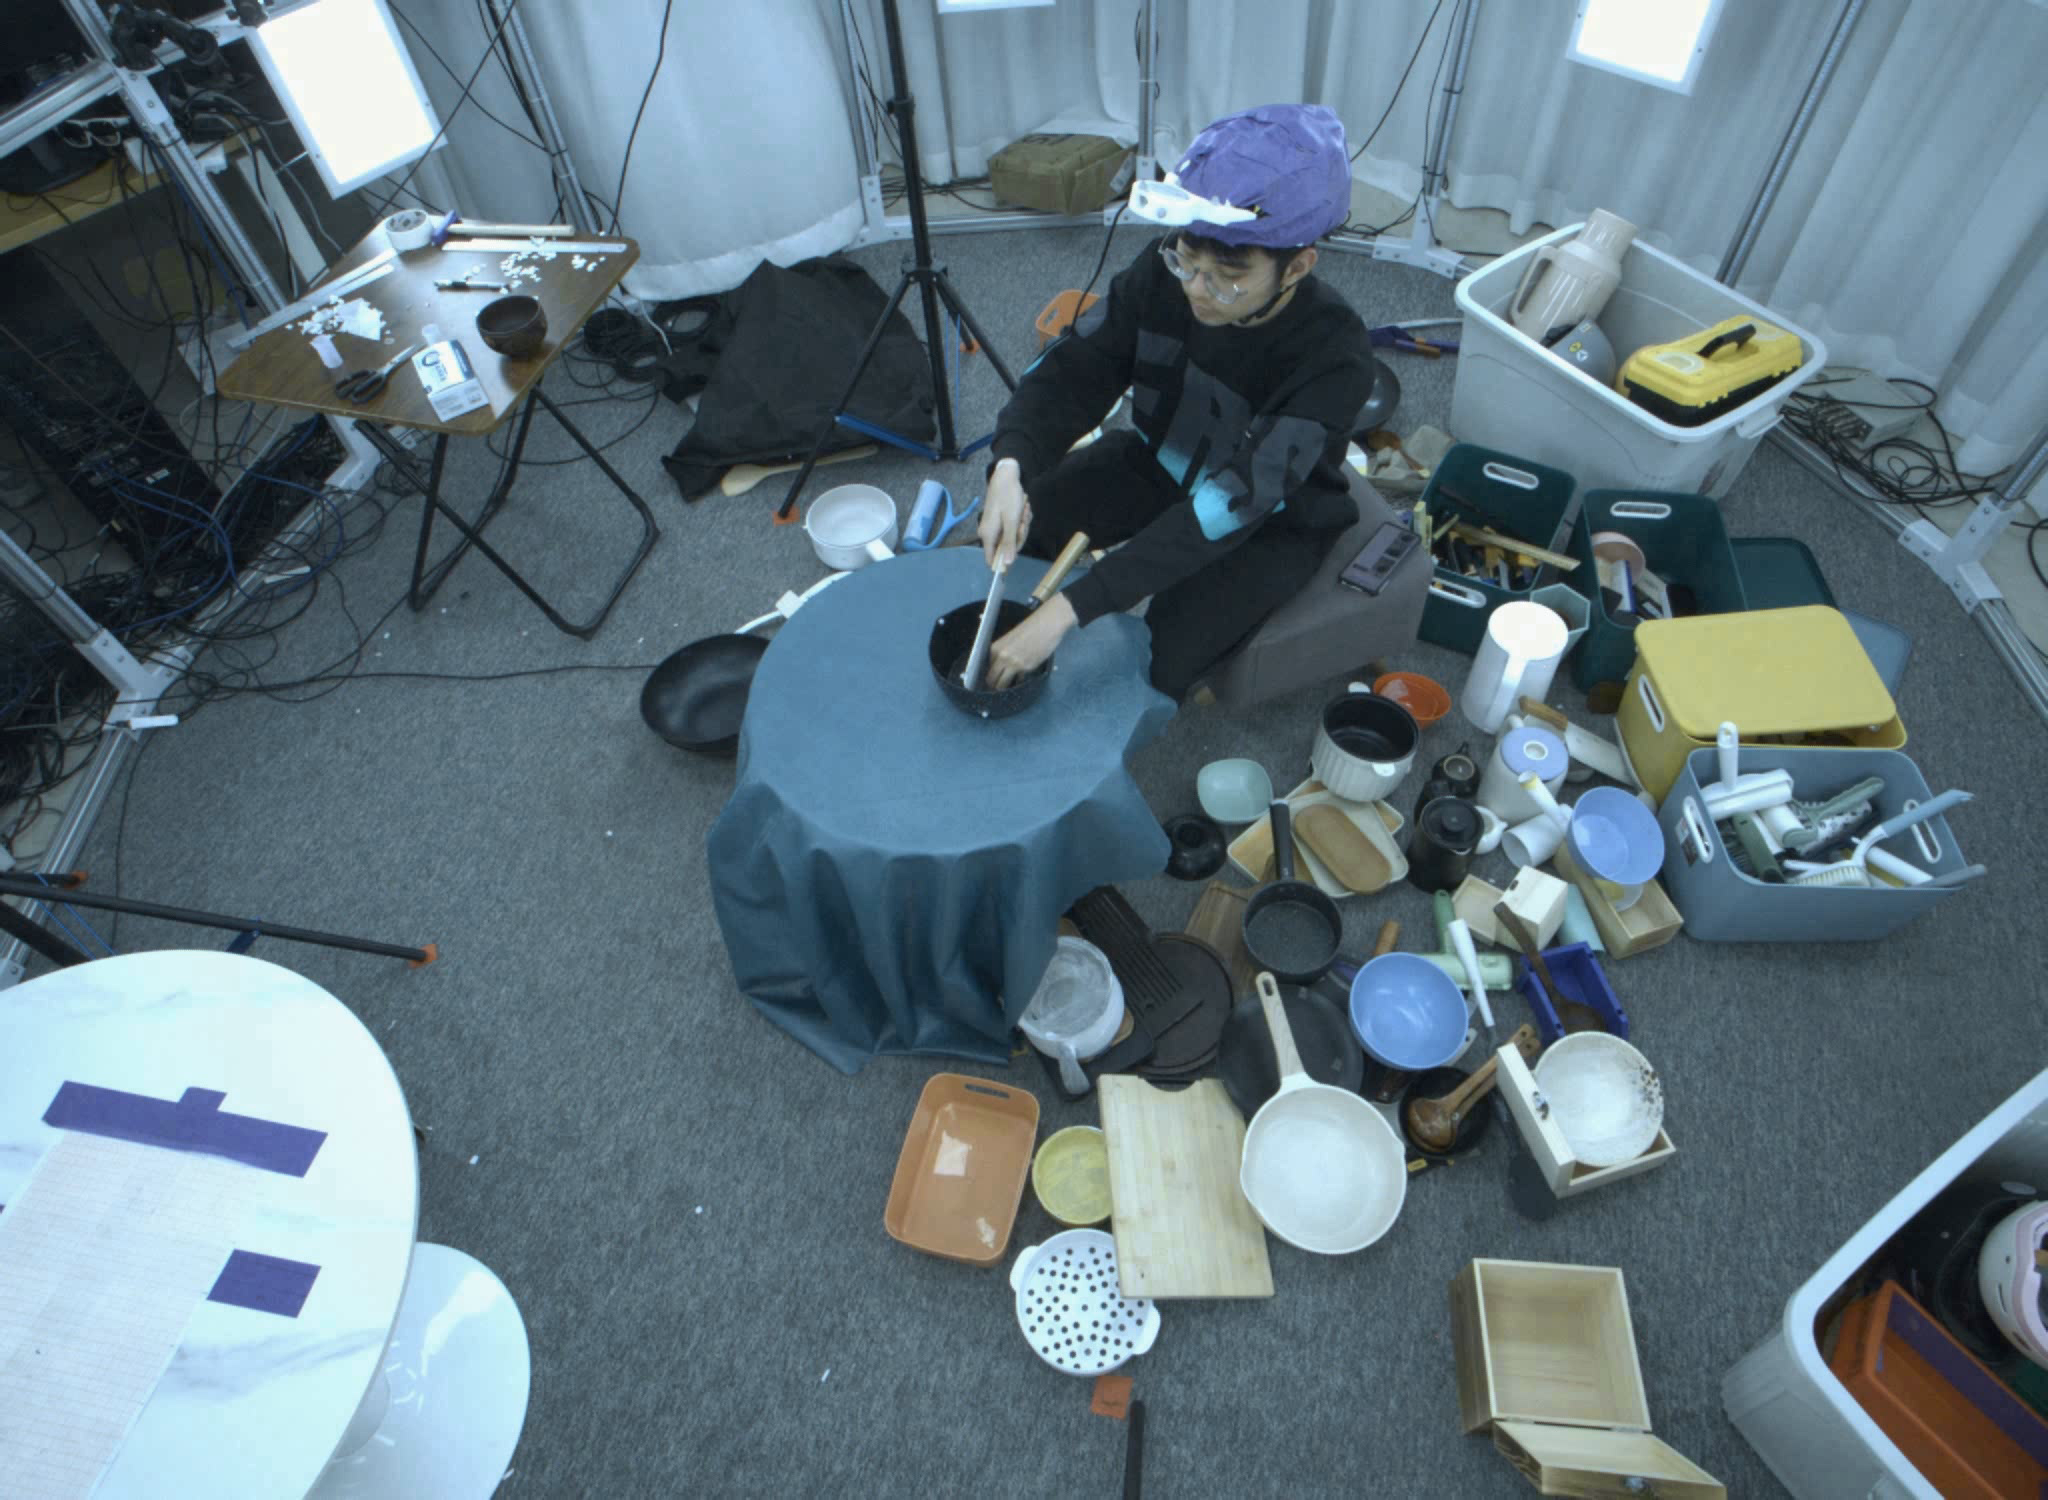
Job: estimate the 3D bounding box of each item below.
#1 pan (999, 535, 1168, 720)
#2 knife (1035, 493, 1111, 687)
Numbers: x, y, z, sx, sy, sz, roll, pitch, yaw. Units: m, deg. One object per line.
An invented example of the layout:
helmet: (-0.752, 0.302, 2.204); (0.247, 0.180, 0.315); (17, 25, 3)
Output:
pan: (0.107, -0.189, 1.849); (0.204, 0.109, 0.344); (30, 63, 23)
knife: (0.068, -0.226, 1.786); (0.021, 0.115, 0.315); (18, 85, 10)
